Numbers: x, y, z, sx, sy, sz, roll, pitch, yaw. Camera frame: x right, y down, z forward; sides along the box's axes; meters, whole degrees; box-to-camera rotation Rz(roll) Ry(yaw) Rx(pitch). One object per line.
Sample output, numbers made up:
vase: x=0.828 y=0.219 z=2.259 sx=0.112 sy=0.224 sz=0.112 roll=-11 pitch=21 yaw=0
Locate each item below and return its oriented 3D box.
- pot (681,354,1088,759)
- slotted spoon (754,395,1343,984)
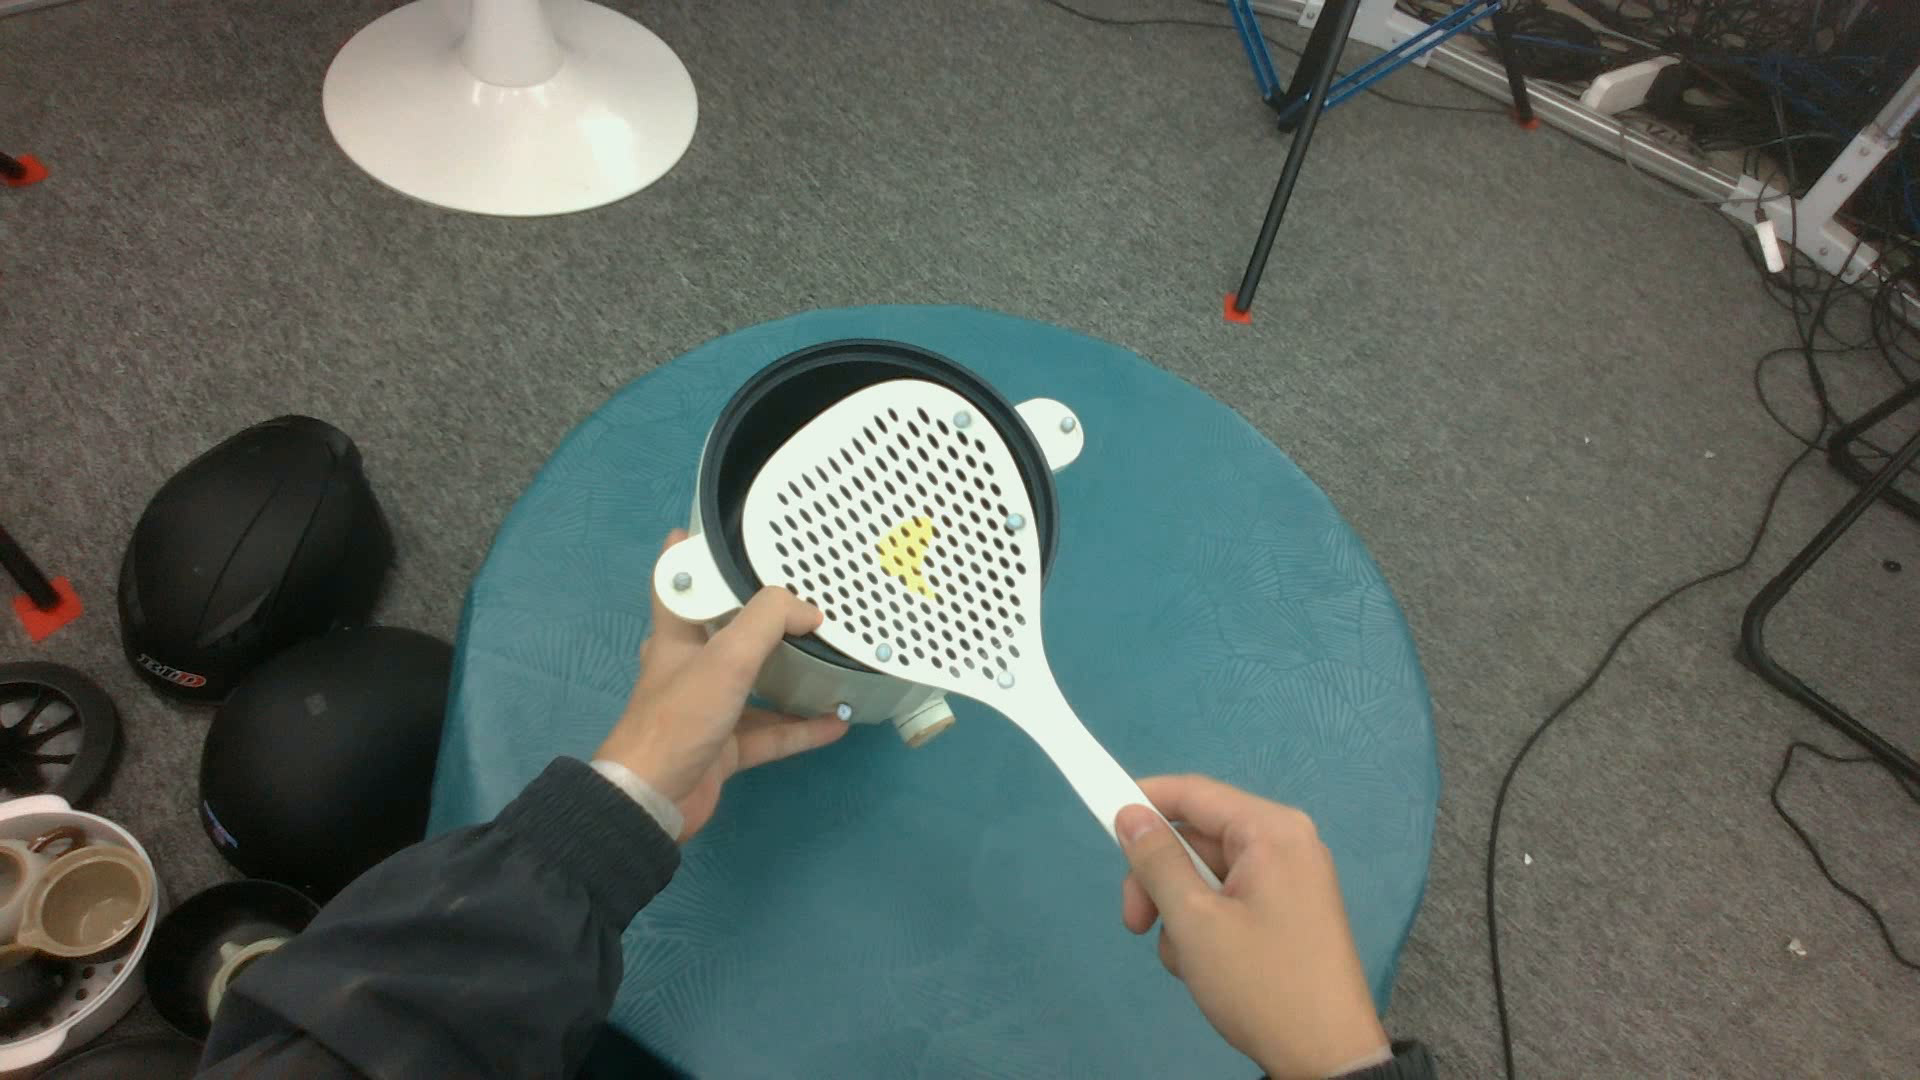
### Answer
pot: x=-0.041 y=0.018 z=0.744 sx=0.241 sy=0.142 sz=0.191 roll=-28 pitch=72 yaw=-24
slotted spoon: x=0.037 y=0.067 z=0.632 sx=0.137 sy=0.050 sz=0.348 roll=-41 pitch=60 yaw=-5
